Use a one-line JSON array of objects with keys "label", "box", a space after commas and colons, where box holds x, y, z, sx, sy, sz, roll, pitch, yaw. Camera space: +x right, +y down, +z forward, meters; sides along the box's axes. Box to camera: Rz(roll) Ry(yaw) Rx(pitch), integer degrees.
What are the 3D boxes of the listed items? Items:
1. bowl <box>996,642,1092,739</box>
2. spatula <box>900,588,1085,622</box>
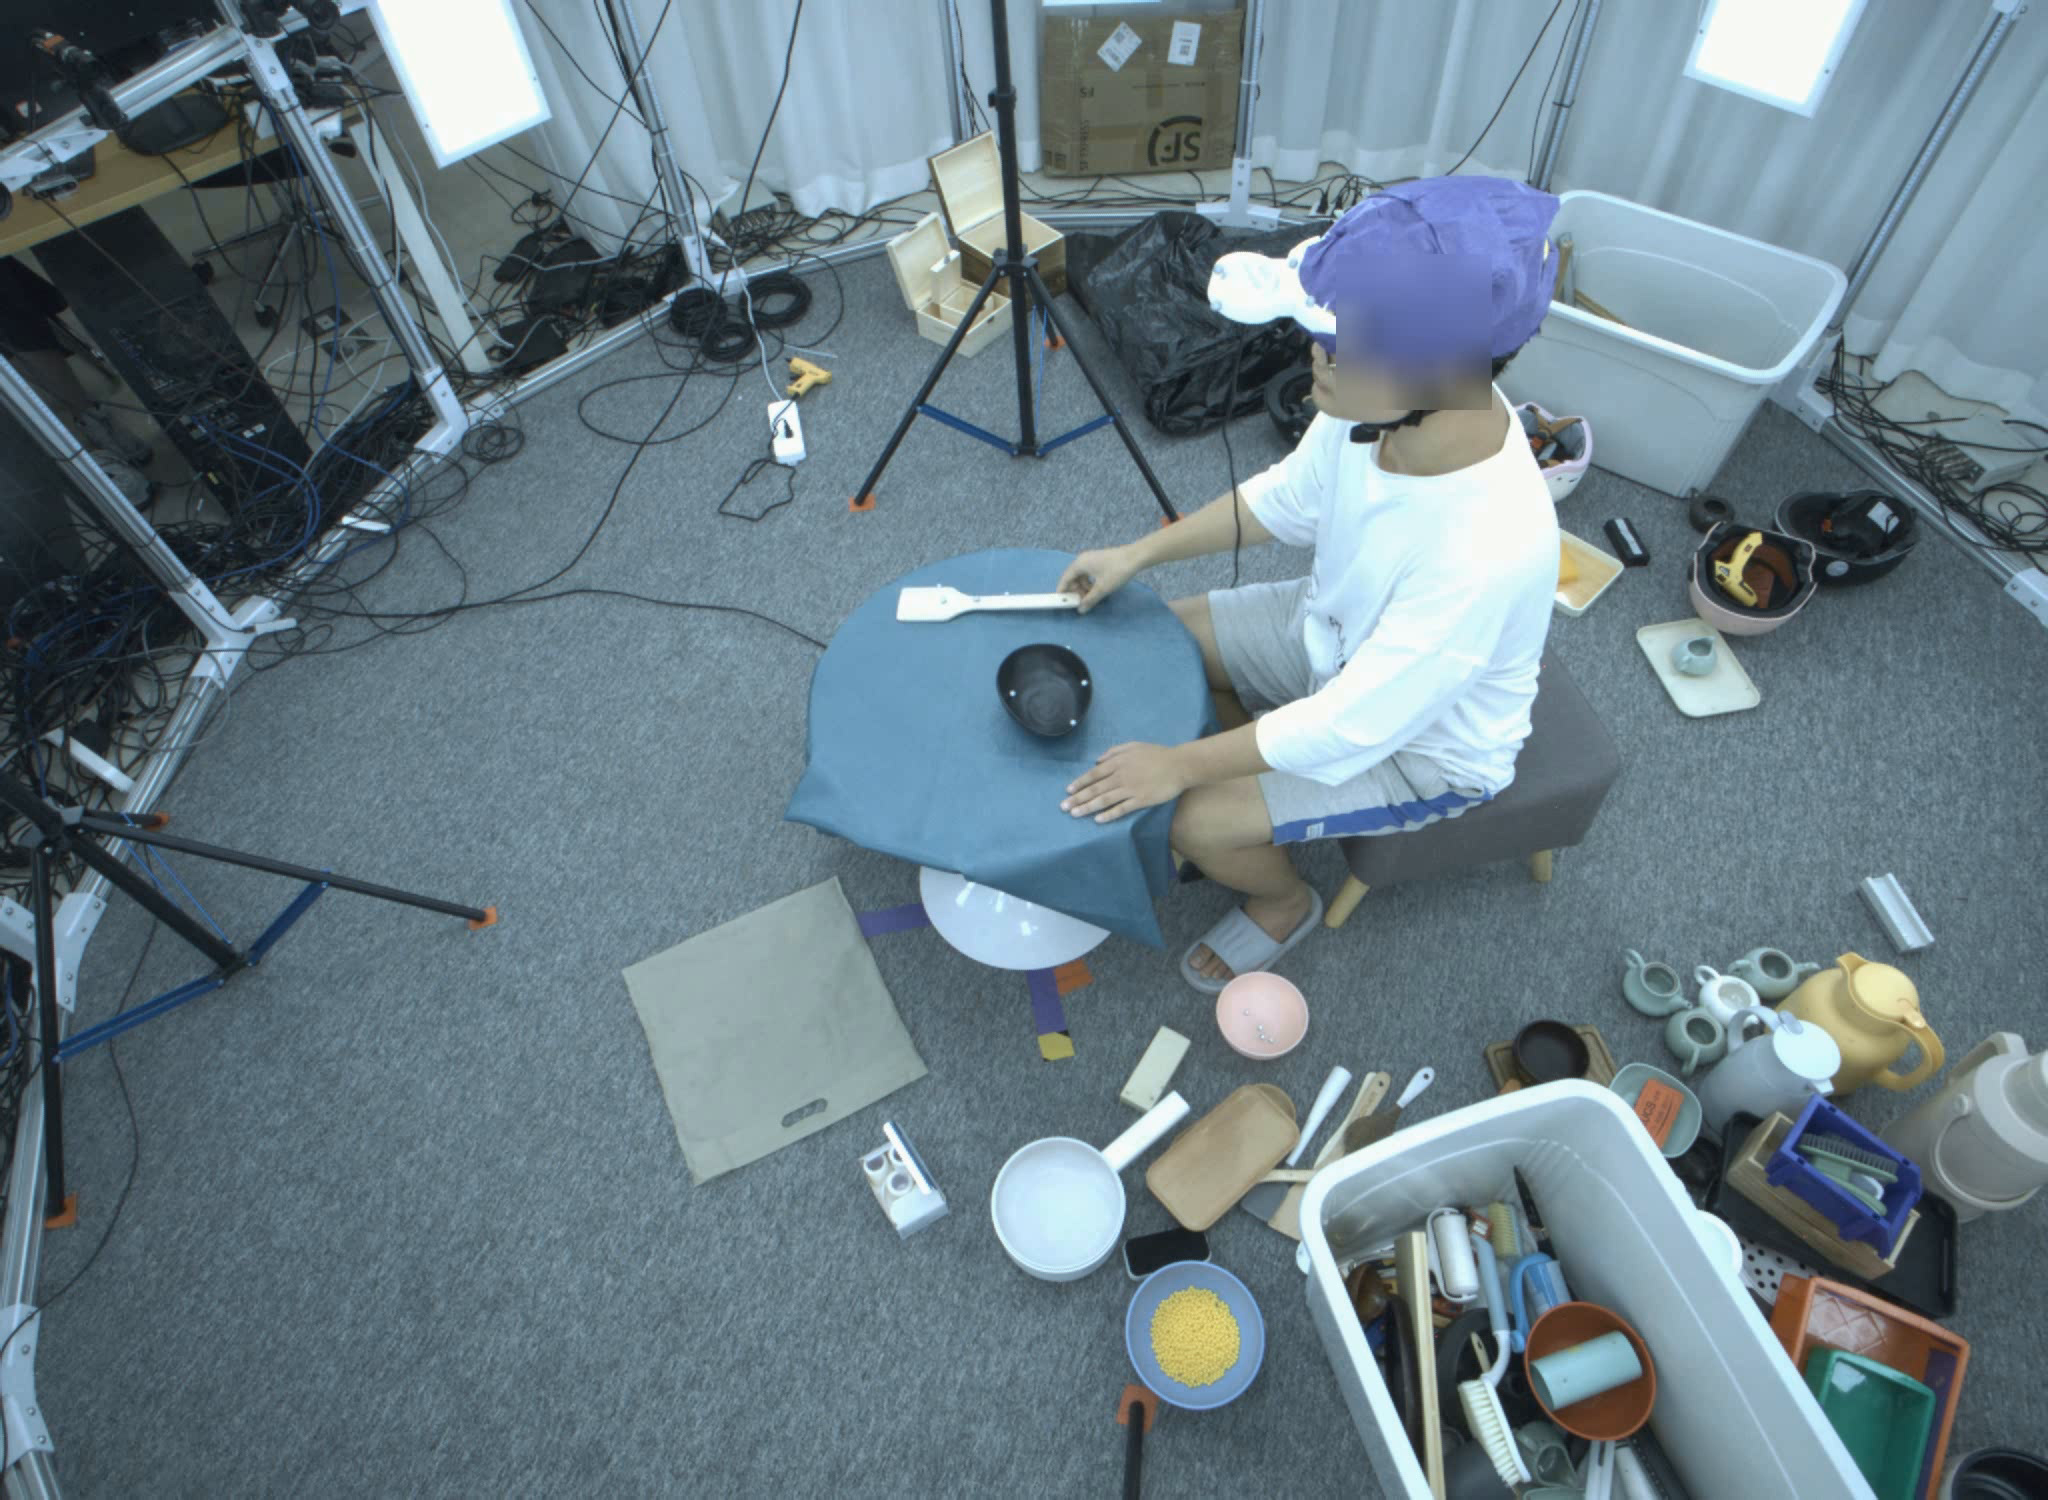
[{"label": "bowl", "box": [0.031, -0.079, 1.801, 0.138, 0.067, 0.167, -16, 58, -10]}, {"label": "spatula", "box": [-0.050, -0.233, 1.939, 0.292, 0.011, 0.071, -1, 54, 6]}]
